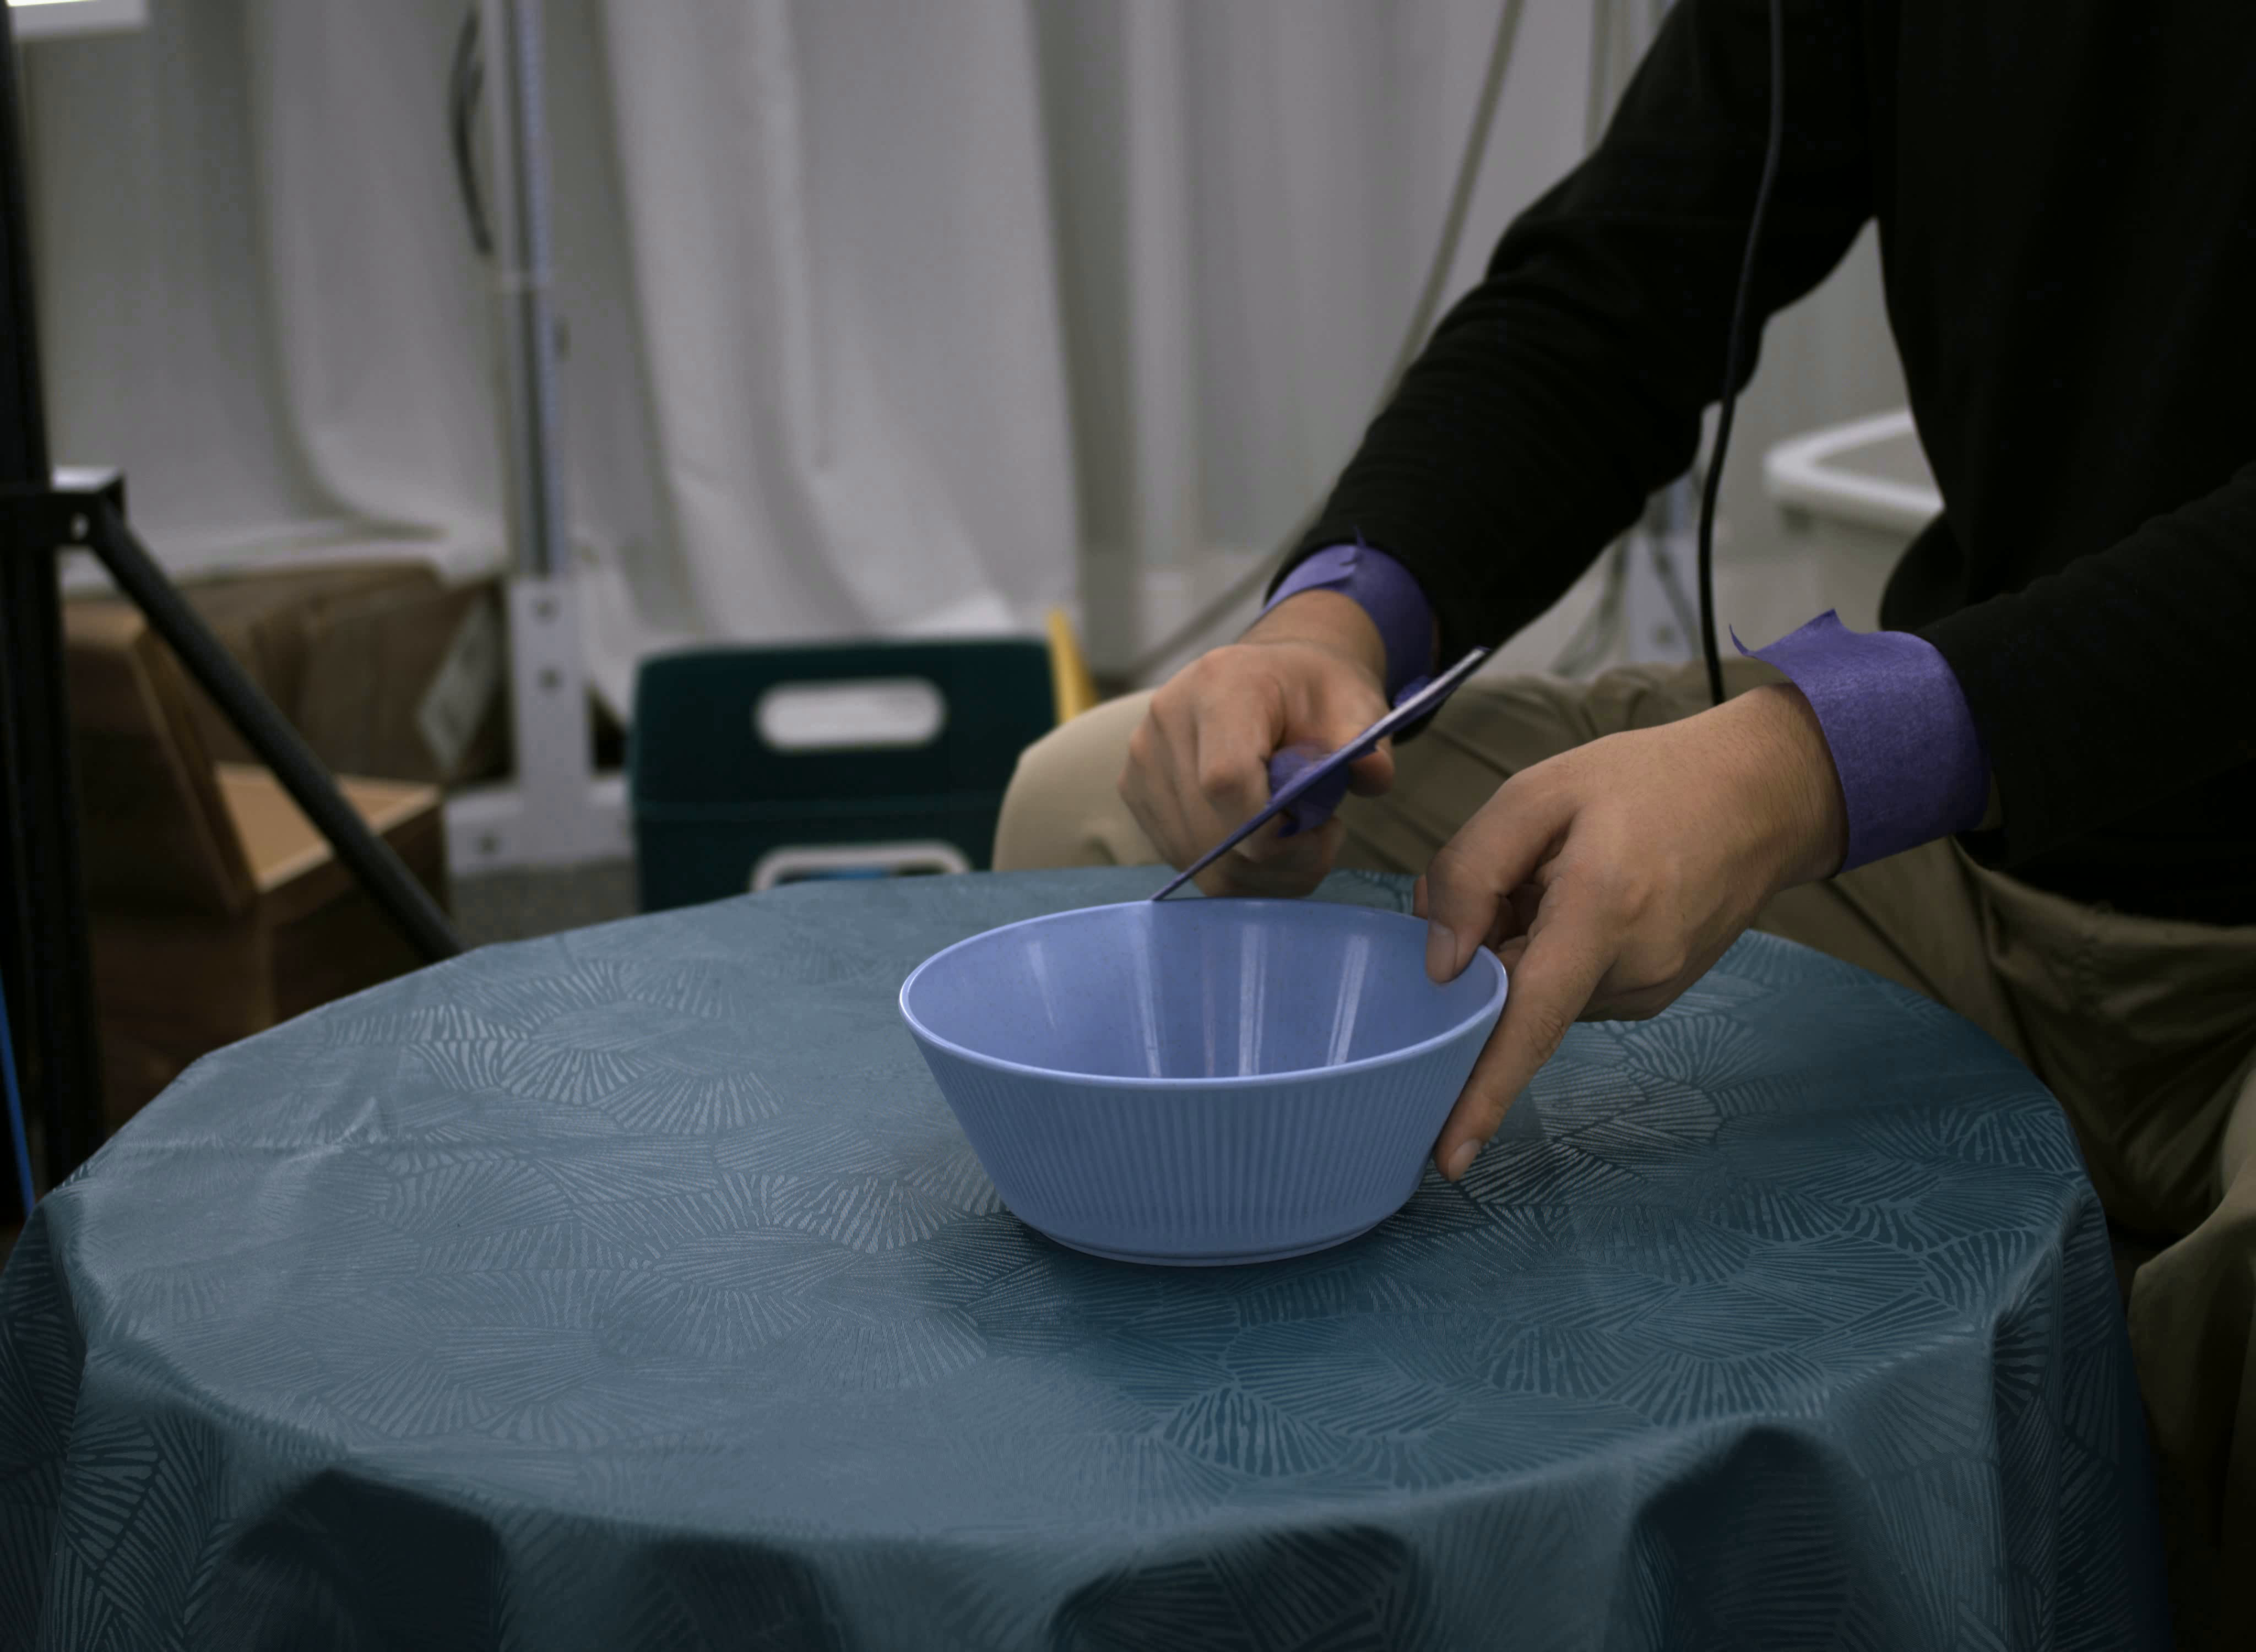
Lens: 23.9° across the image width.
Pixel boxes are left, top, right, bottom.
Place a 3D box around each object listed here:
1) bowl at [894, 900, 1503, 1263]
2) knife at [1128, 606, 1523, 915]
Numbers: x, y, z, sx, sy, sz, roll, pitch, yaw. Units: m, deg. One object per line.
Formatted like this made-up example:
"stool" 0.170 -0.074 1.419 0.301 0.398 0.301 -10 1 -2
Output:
"bowl" 0.021 0.076 1.534 0.175 0.070 0.177 -2 16 -1
"knife" 0.043 -0.008 1.628 0.103 0.032 0.316 -35 -3 -13
